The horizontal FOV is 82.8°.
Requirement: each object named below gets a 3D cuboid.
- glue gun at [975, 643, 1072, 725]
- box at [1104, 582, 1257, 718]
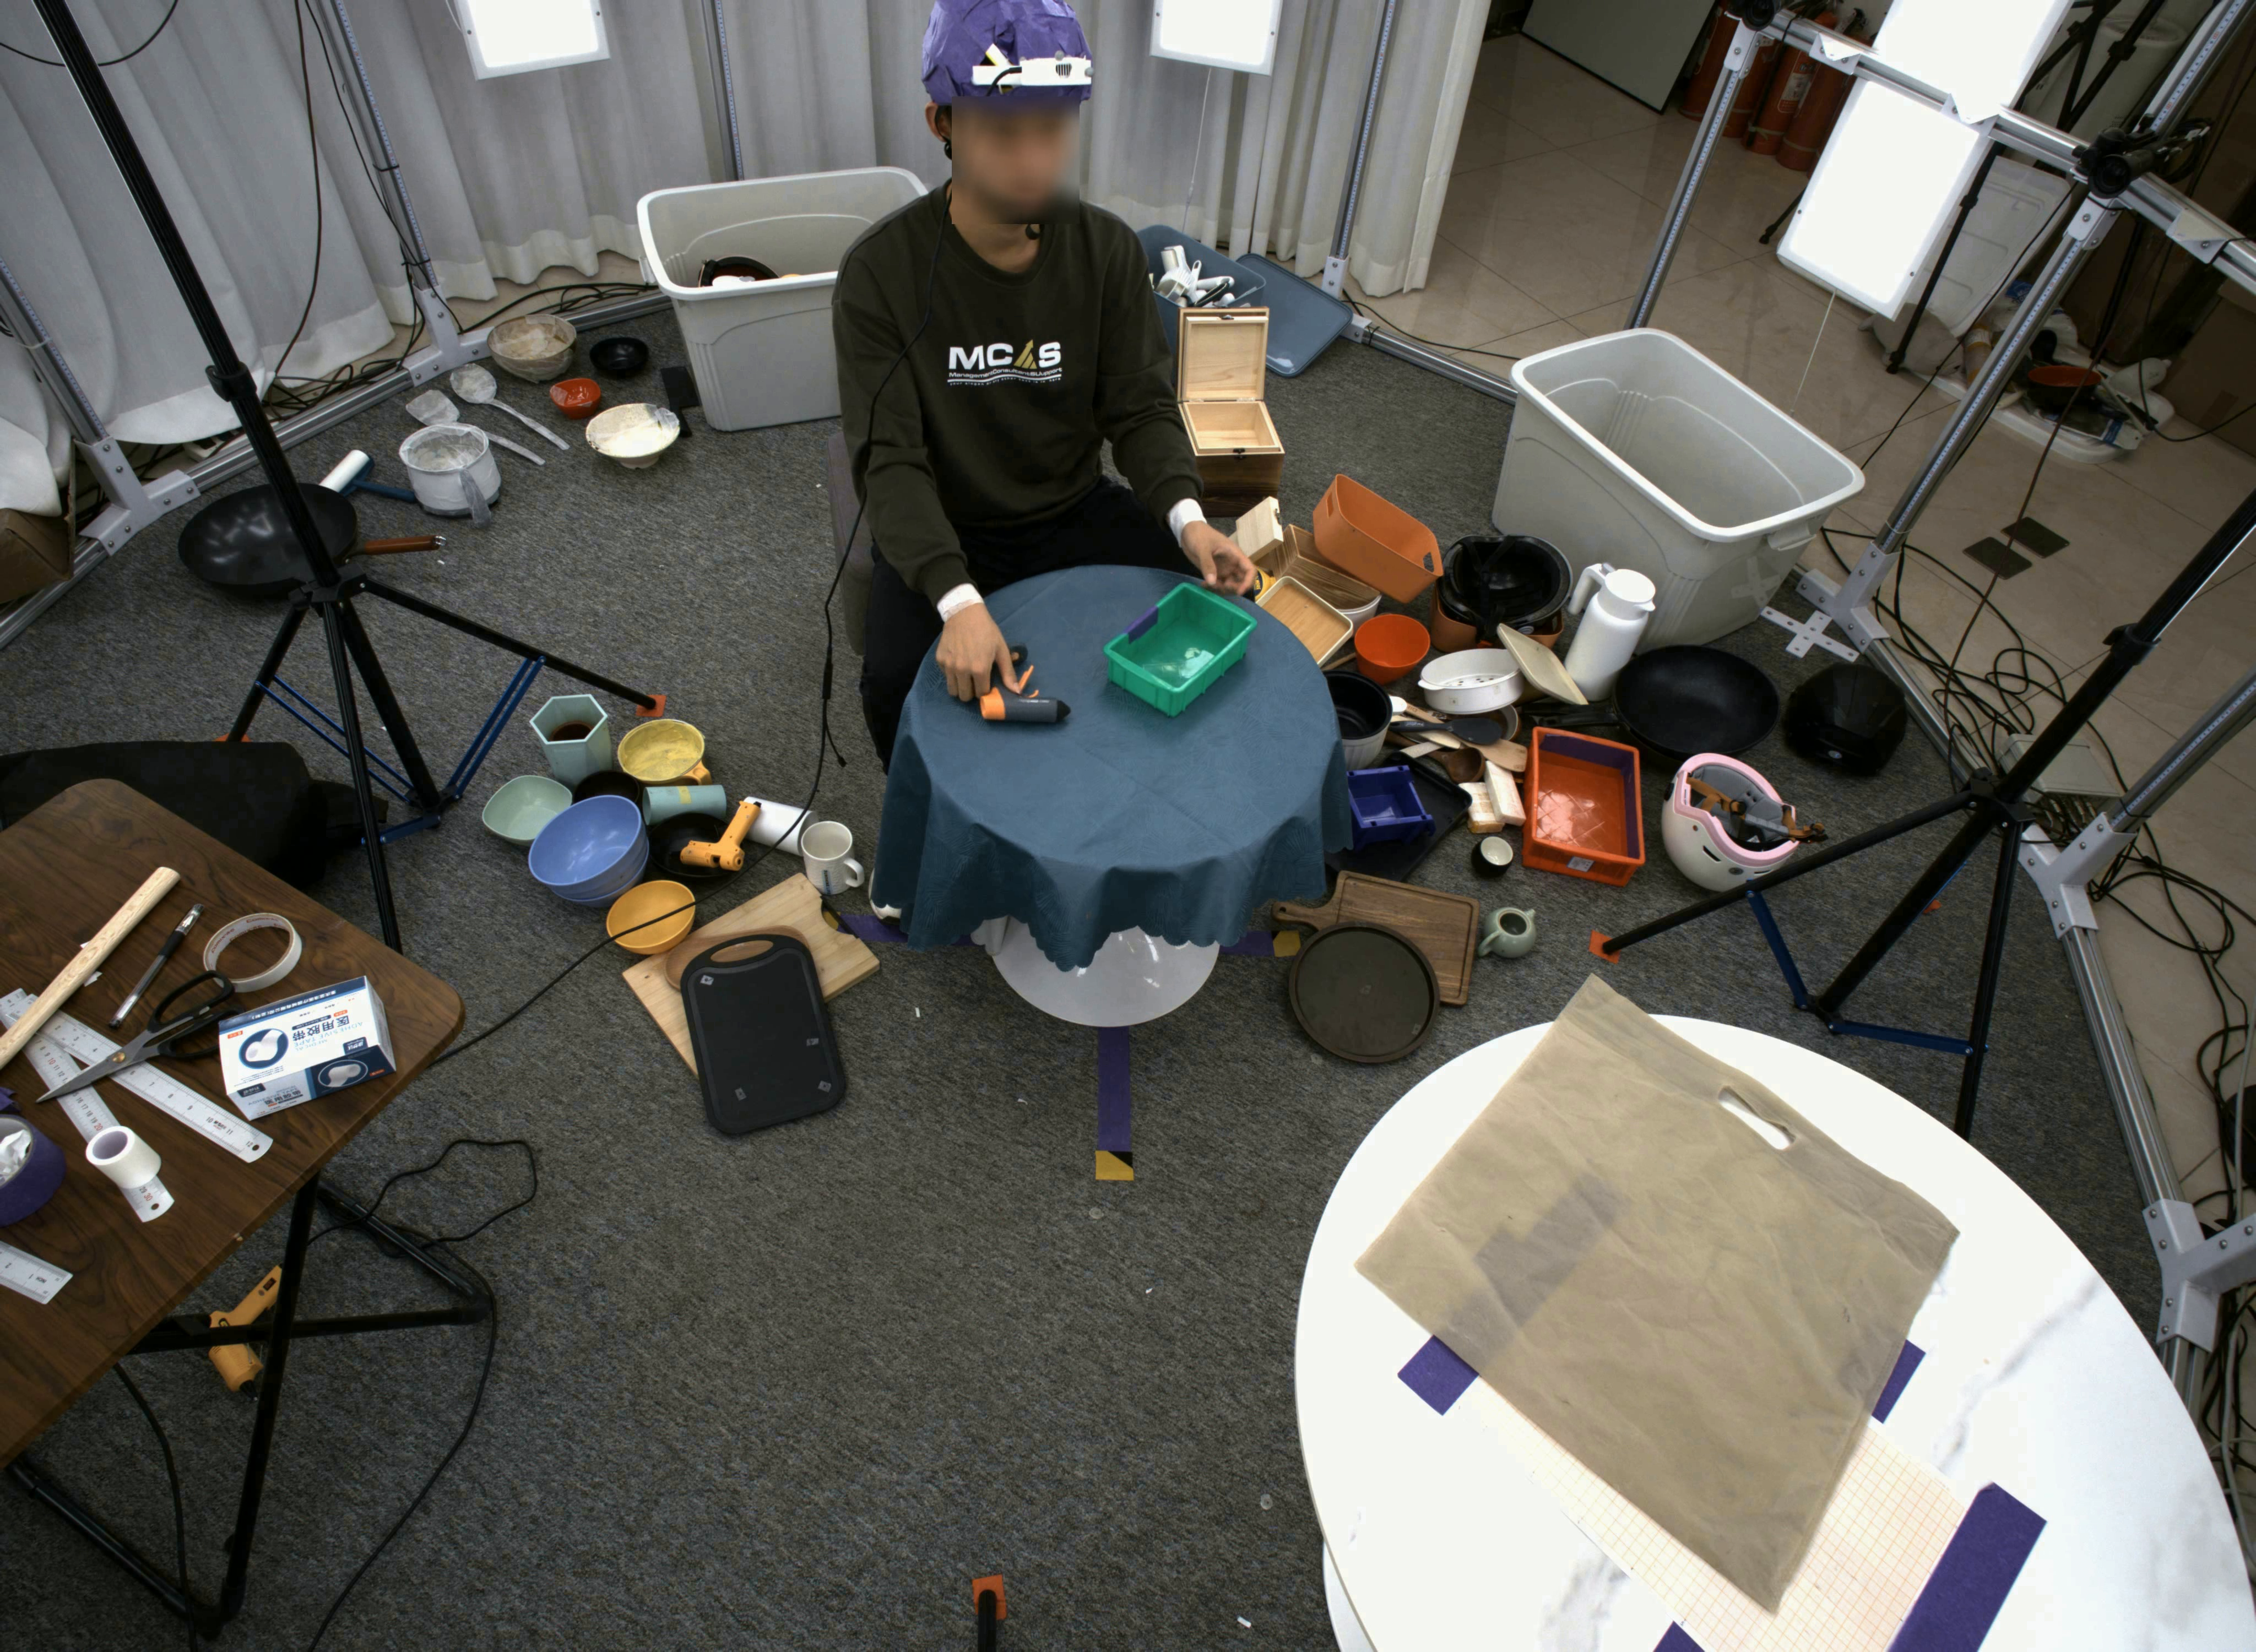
[{"bbox_3d":[-0.152,-0.194,1.794,0.117,0.040,0.143,-5,50,-26],"label":"glue gun"},{"bbox_3d":[0.075,-0.251,1.843,0.140,0.064,0.213,30,55,22],"label":"box"}]
